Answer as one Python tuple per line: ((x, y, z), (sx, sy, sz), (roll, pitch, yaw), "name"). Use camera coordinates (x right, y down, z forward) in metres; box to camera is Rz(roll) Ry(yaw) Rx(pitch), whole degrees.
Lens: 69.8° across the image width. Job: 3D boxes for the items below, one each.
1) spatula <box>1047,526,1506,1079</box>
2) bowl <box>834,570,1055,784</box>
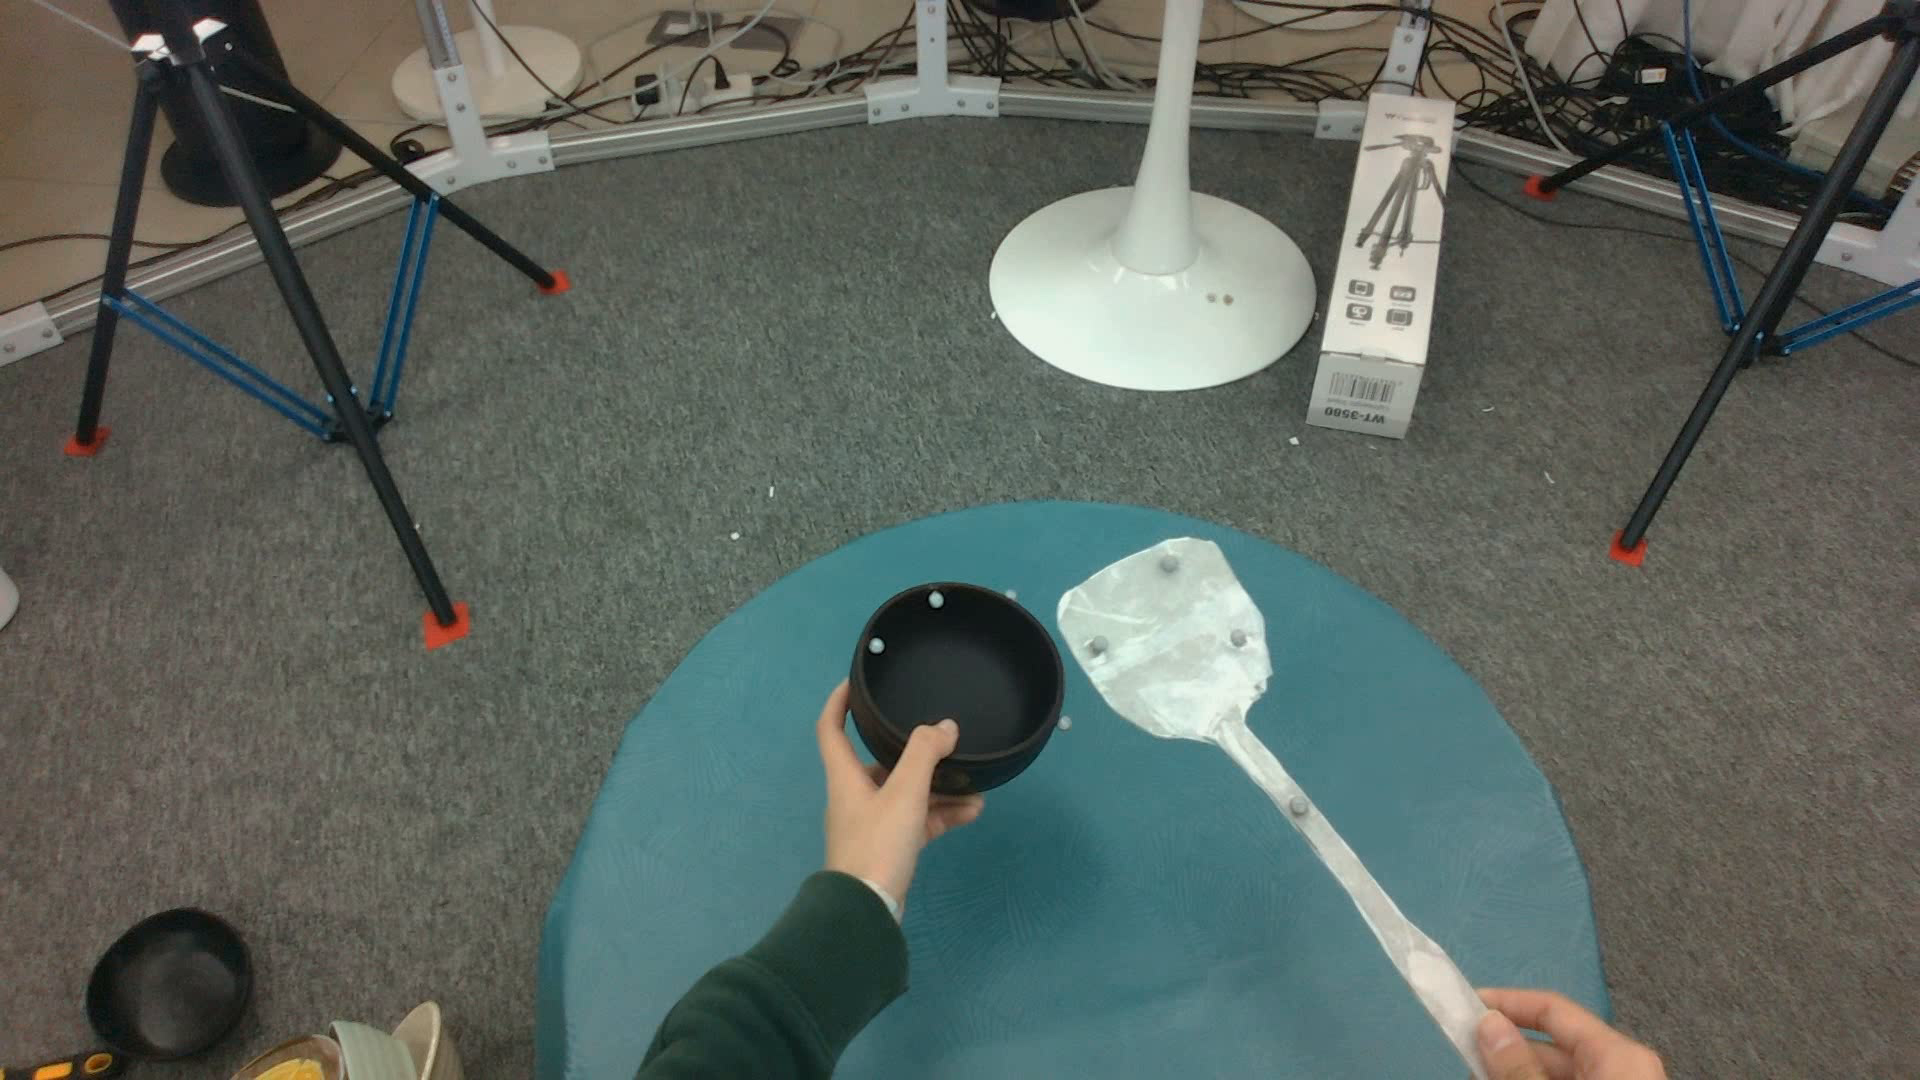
((0.156, 0.130, 0.617), (0.099, 0.044, 0.366), (-22, 47, -13), "spatula")
((-0.011, 0.082, 0.757), (0.118, 0.069, 0.118), (6, 50, -7), "bowl")
